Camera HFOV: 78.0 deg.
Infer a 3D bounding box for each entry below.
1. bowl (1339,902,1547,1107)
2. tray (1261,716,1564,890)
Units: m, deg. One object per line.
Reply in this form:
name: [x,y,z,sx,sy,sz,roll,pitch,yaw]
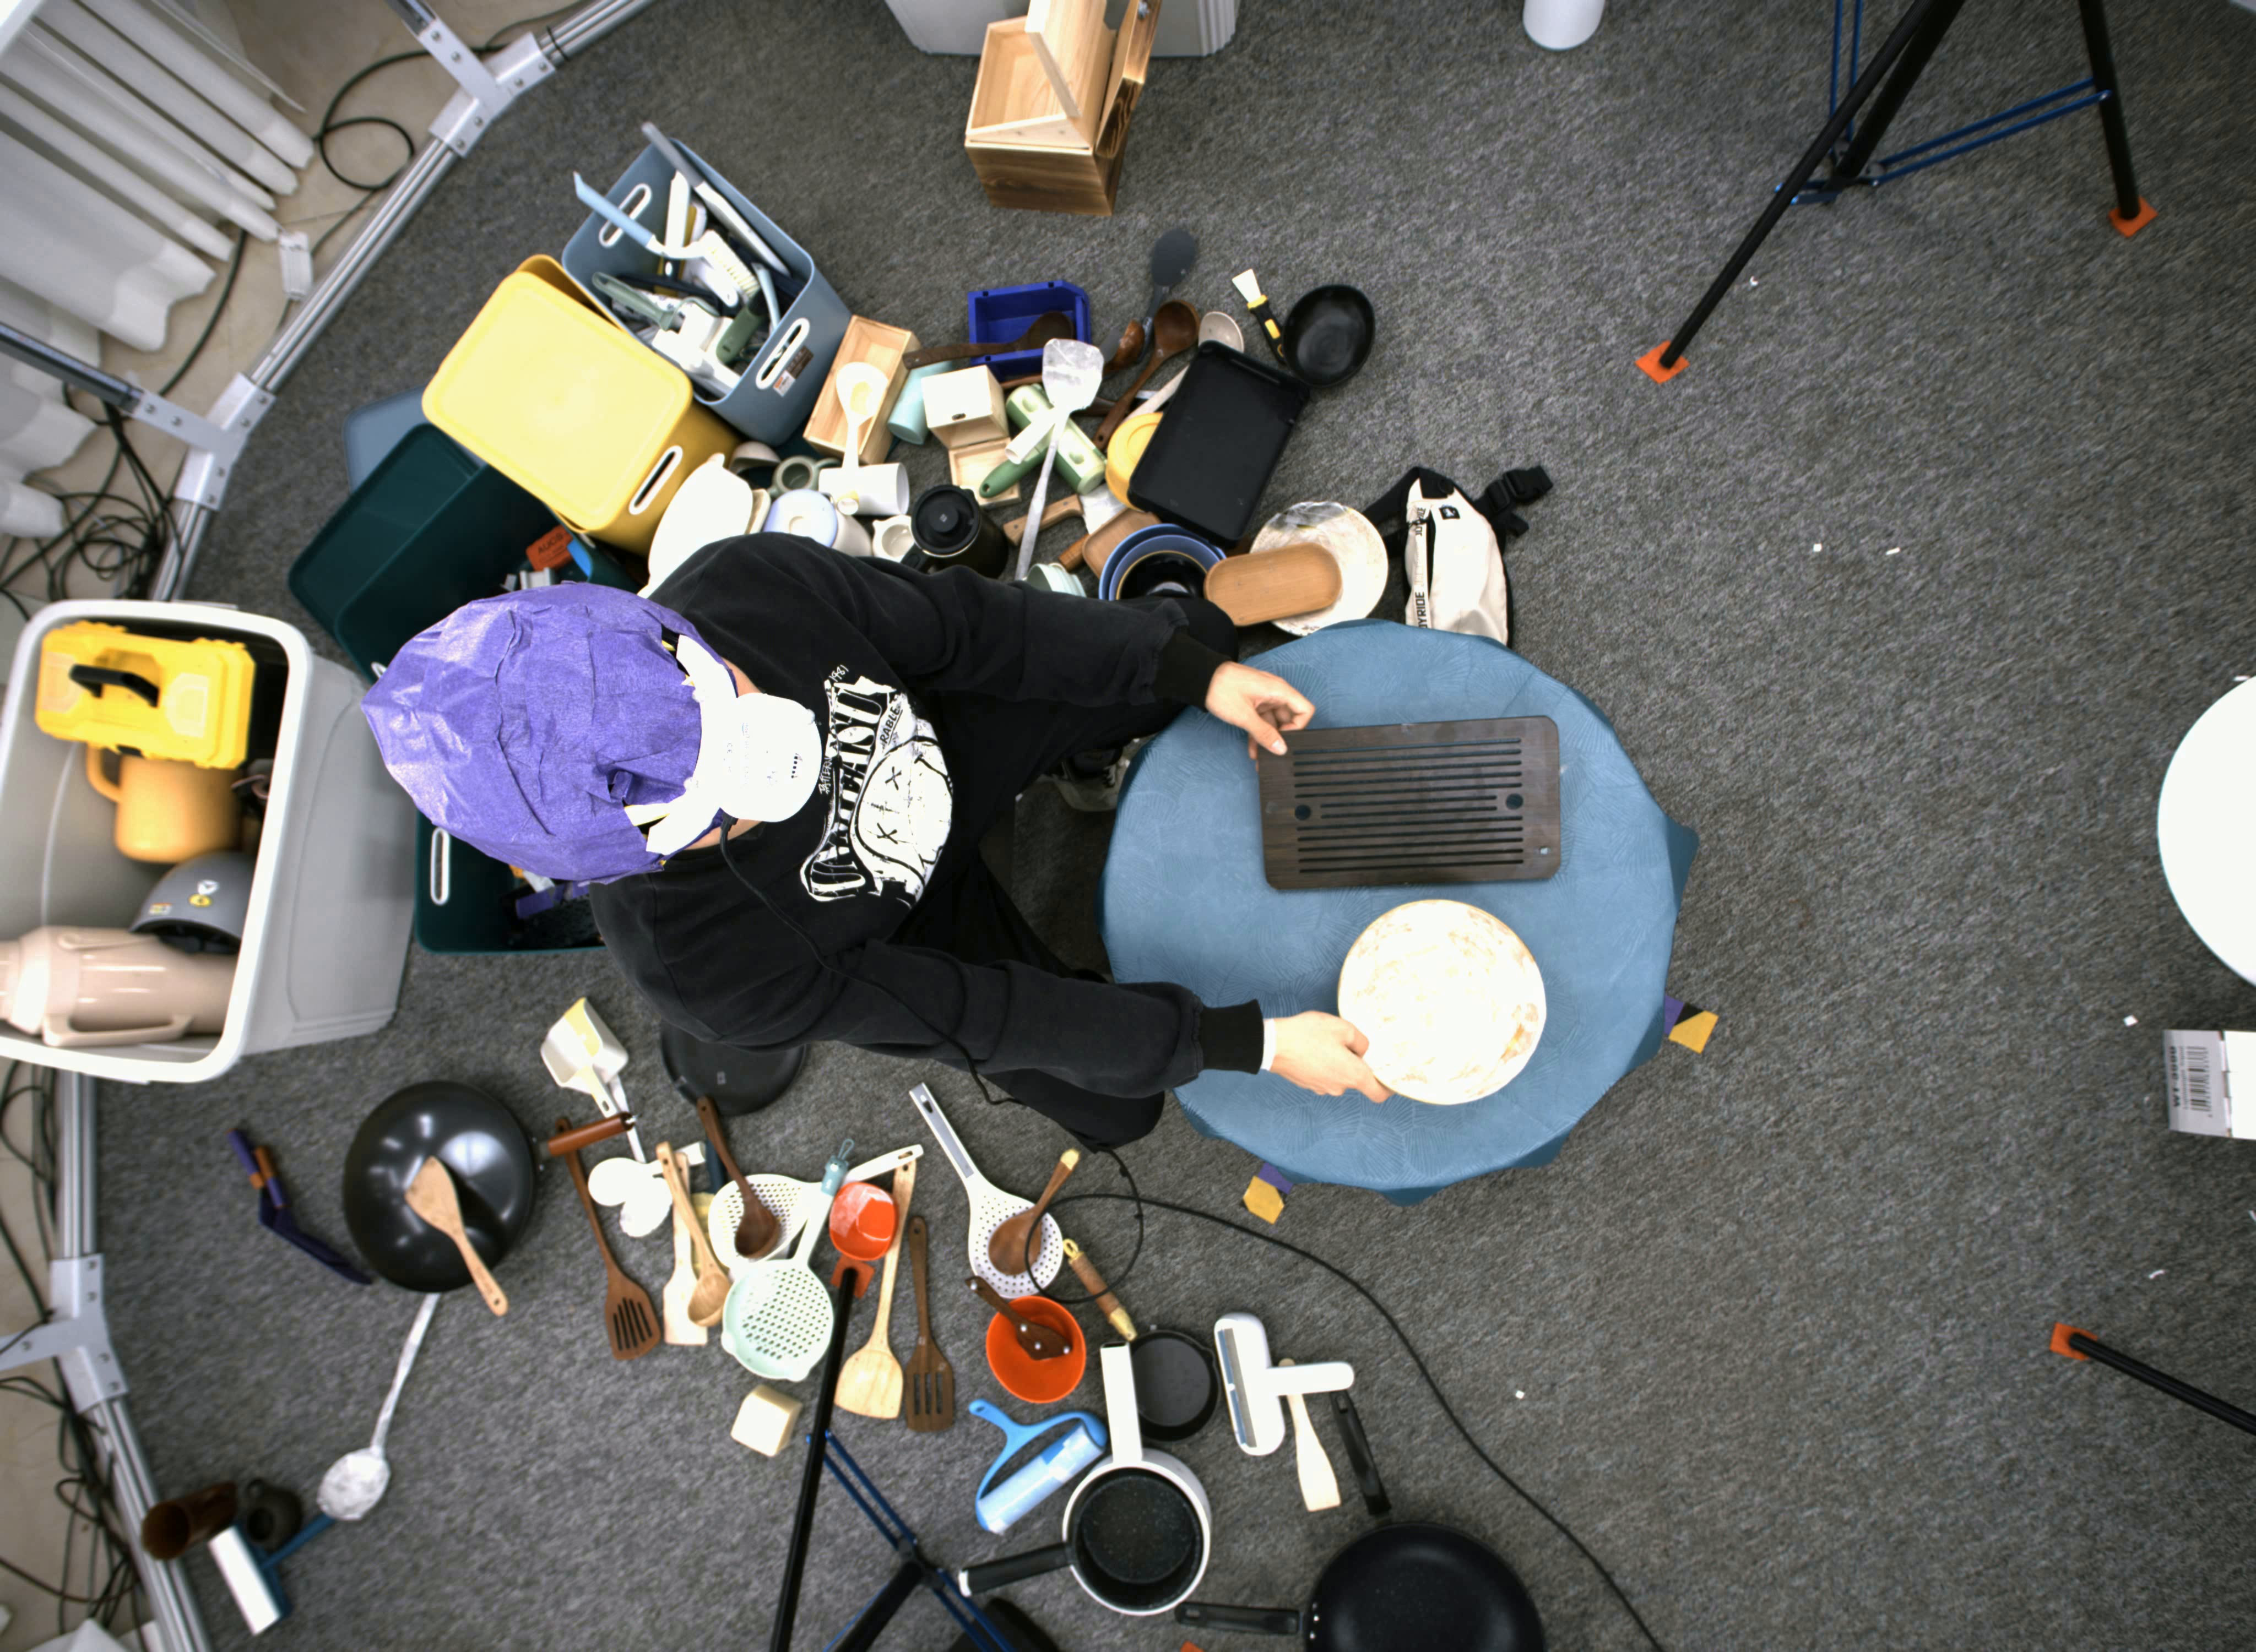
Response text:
bowl: [0.313,0.177,1.400,0.215,0.095,0.213,-1,82,8]
tray: [0.295,-0.024,1.432,0.307,0.018,0.172,-3,104,10]
